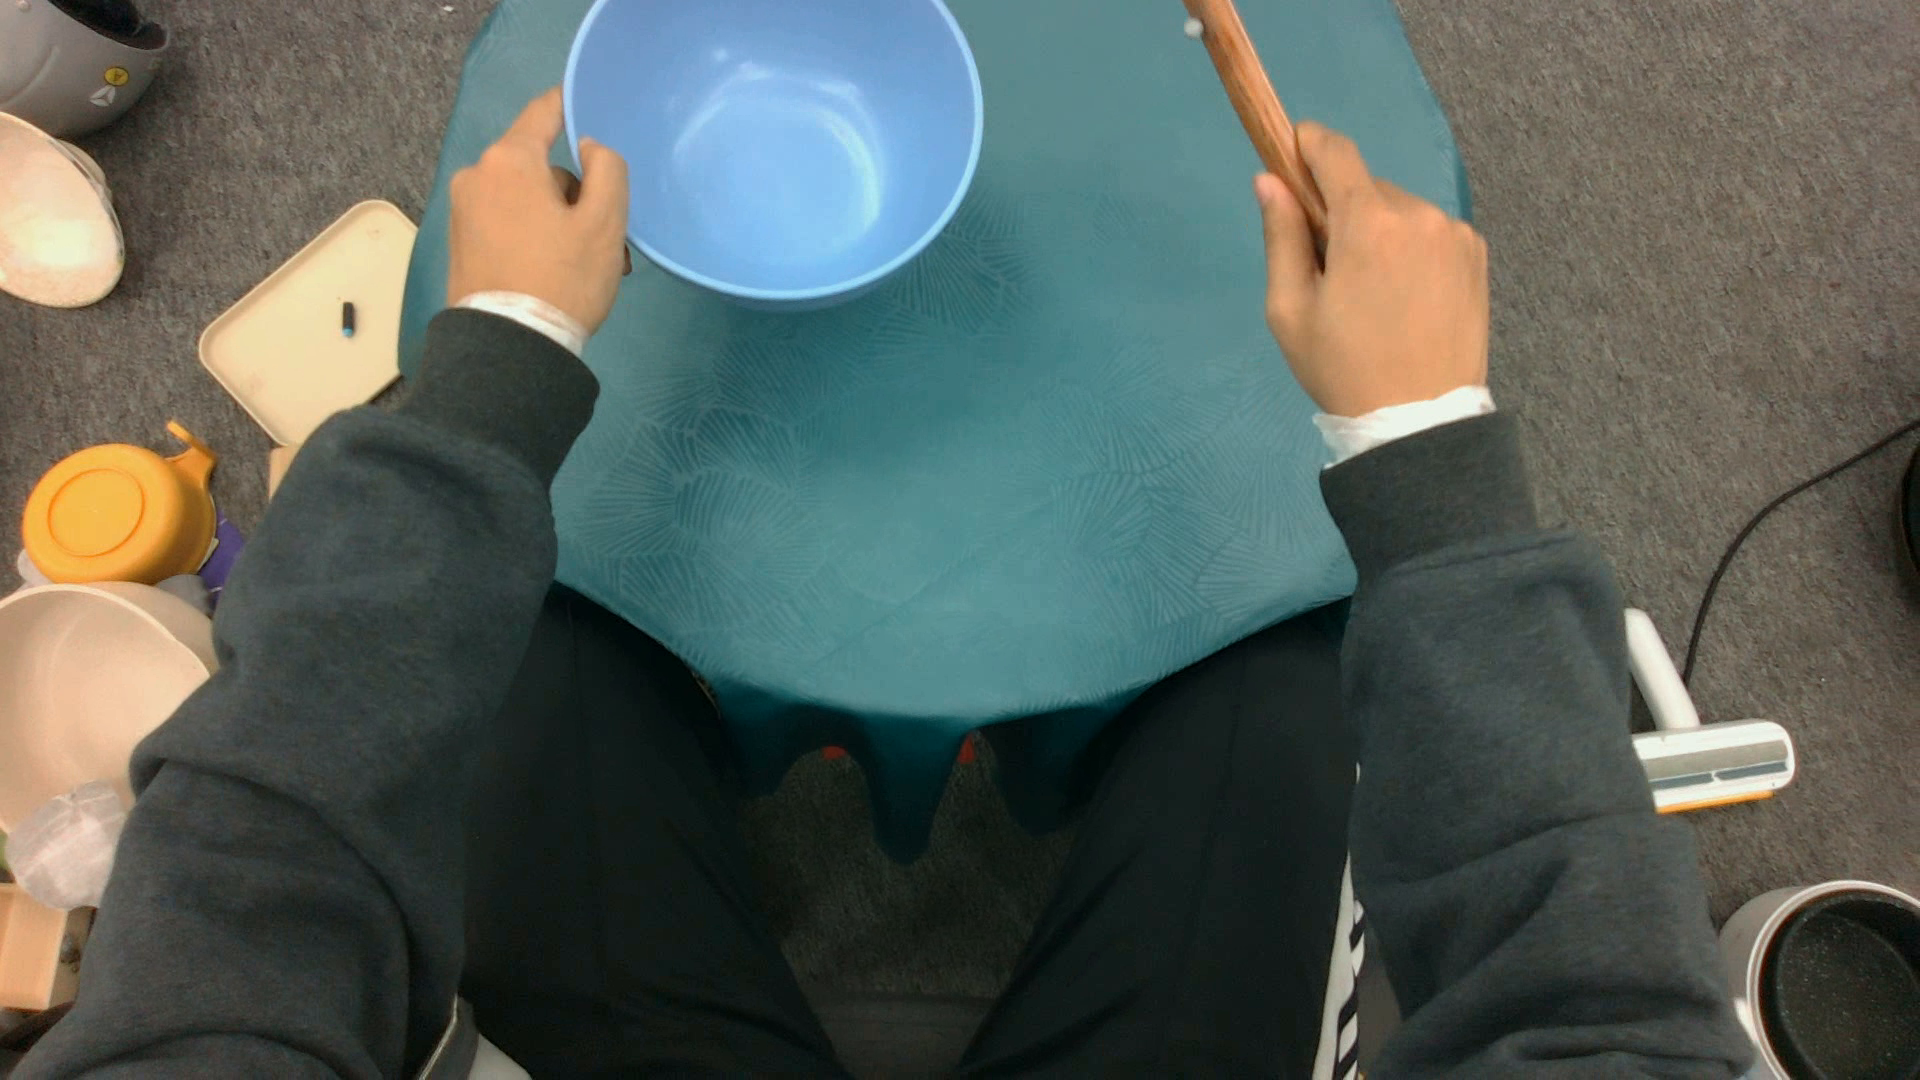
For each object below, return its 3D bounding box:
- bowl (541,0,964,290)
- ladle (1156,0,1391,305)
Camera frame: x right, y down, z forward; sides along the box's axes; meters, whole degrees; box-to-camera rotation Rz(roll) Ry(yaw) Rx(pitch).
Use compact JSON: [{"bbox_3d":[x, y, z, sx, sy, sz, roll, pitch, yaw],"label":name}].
[{"bbox_3d":[-0.102,-0.207,0.690,0.196,0.095,0.197,2,77,-9],"label":"bowl"},{"bbox_3d":[0.075,-0.199,0.567,0.076,0.082,0.274,-32,92,-1],"label":"ladle"}]
